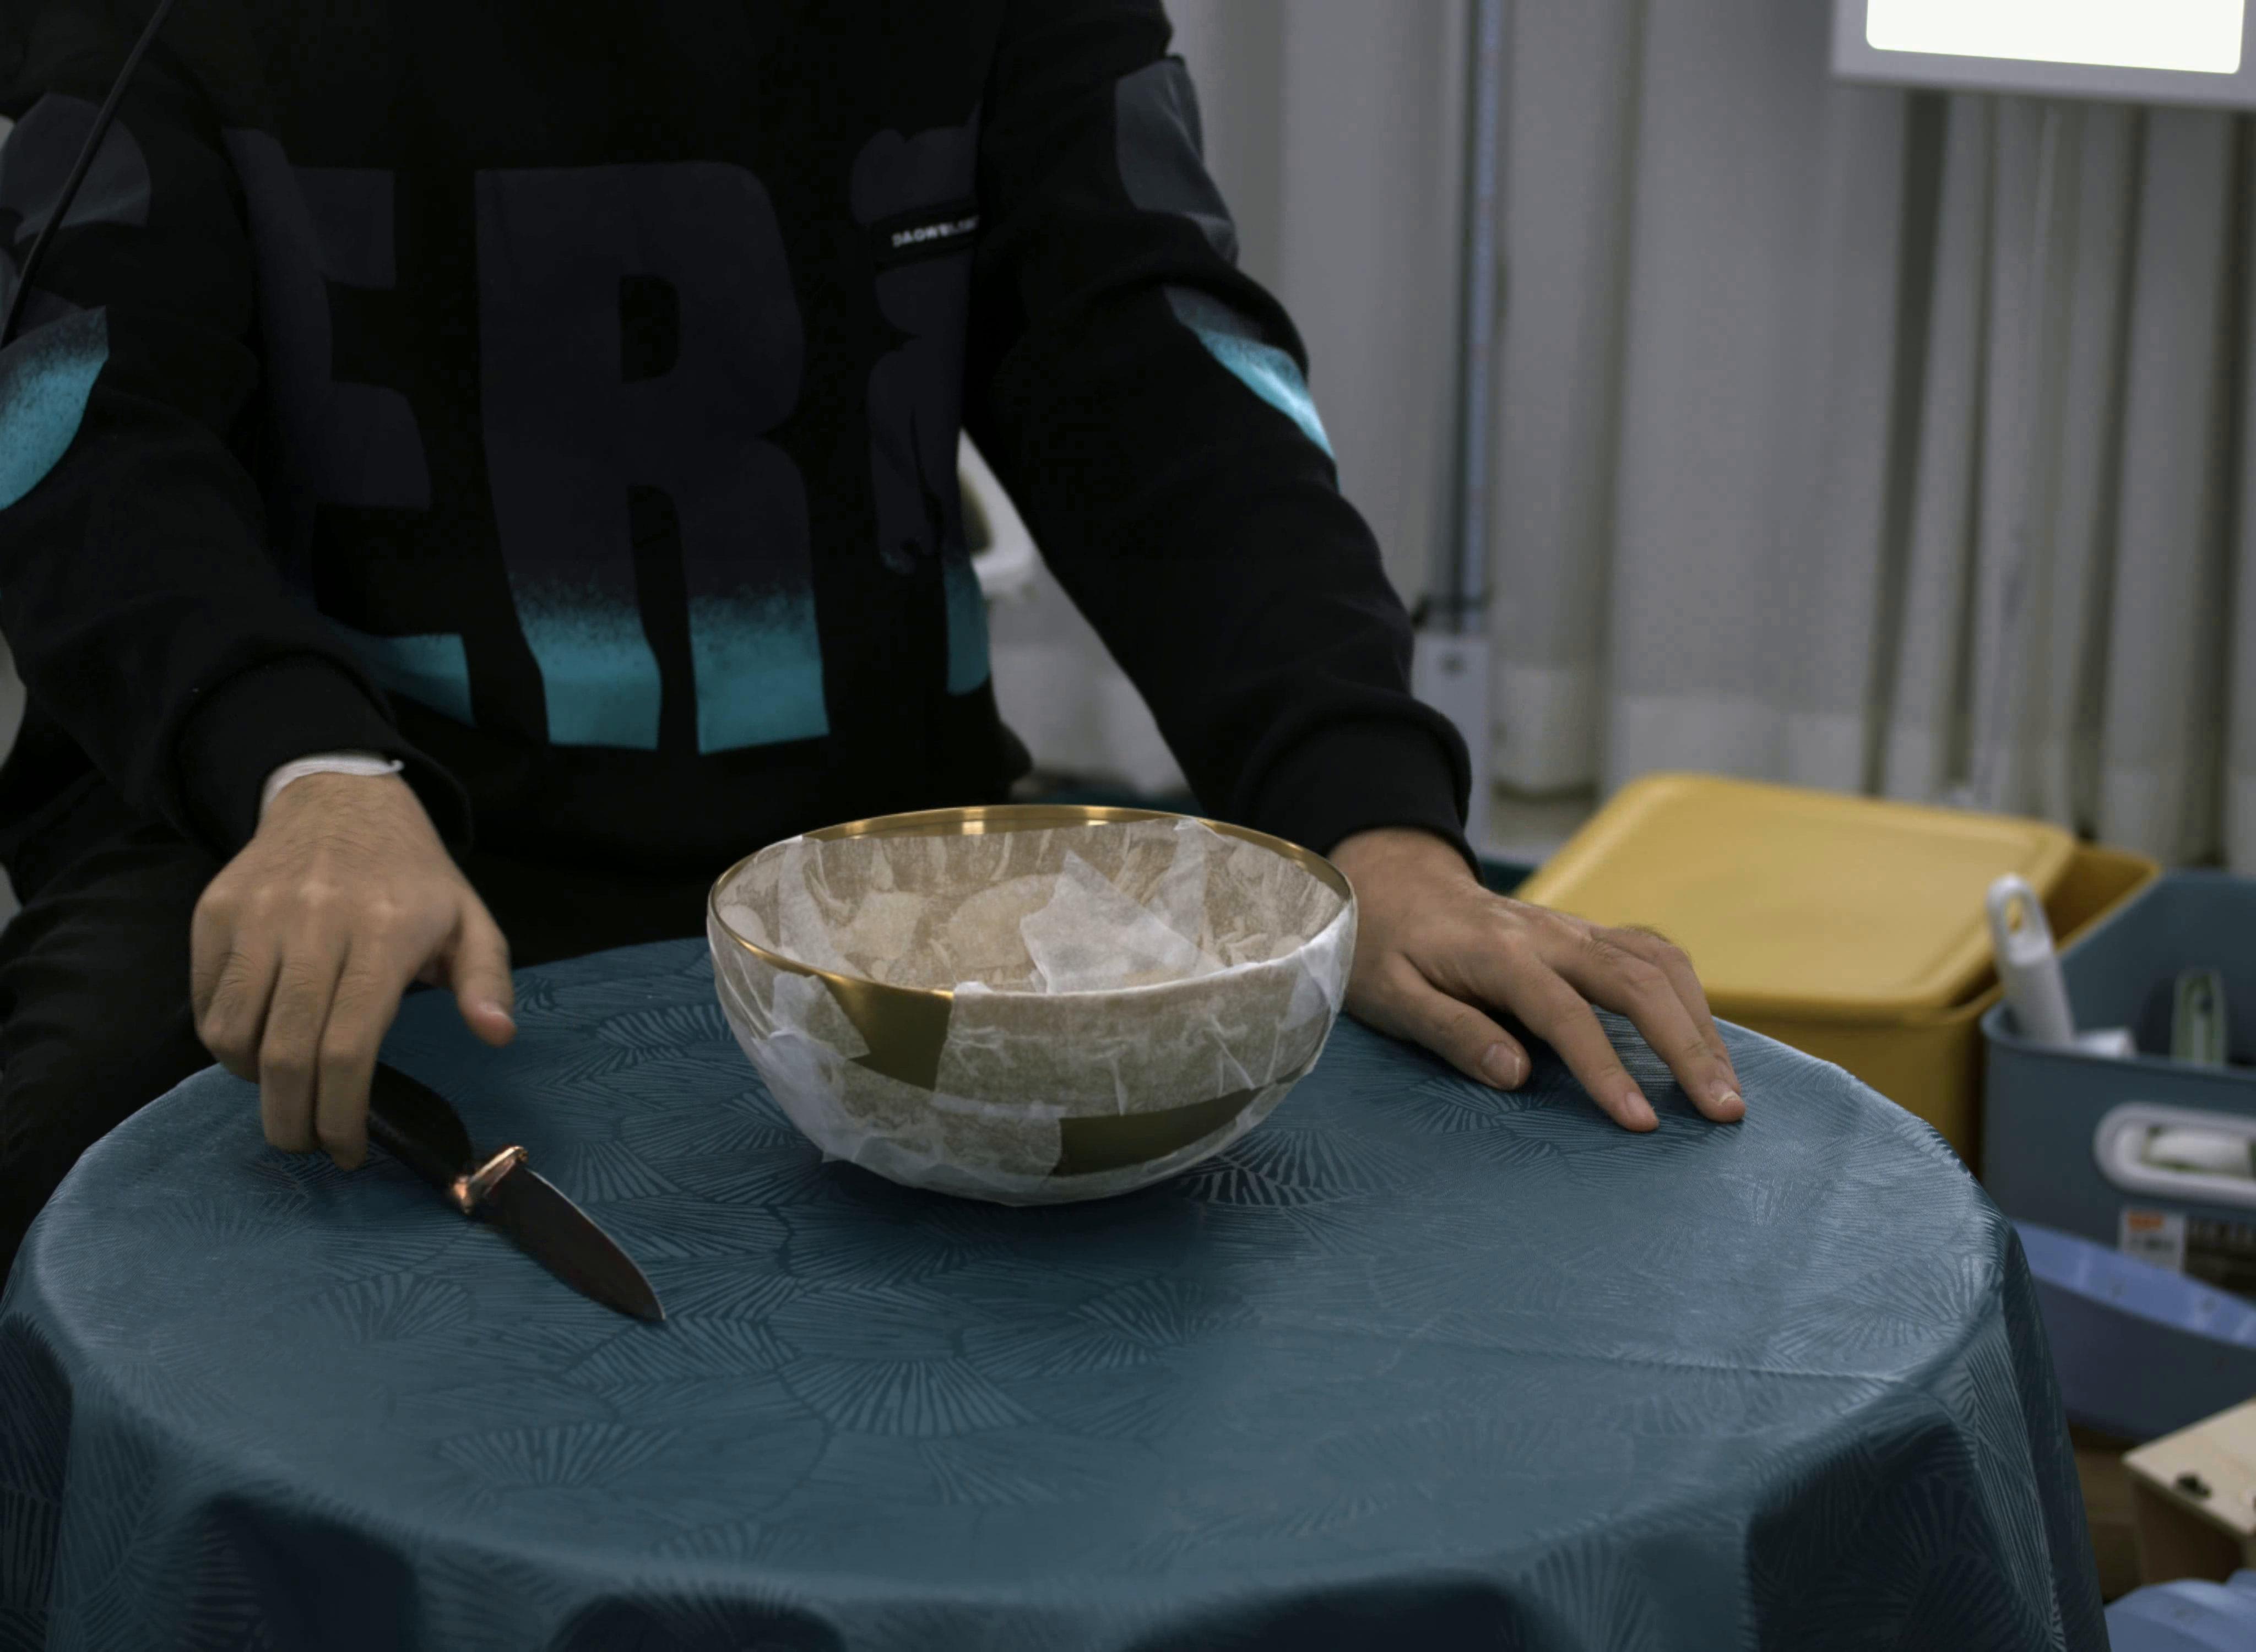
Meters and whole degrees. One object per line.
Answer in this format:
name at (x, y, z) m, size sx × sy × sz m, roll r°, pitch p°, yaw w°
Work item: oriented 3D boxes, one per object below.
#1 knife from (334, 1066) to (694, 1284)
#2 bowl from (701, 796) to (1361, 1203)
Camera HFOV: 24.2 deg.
knife at (-0.188, 0.108, 1.590) m, size 0.026 × 0.017 × 0.222 m, roll -48°, pitch 33°, yaw -13°
bowl at (-0.029, 0.060, 1.630) m, size 0.214 × 0.095 × 0.213 m, roll -1°, pitch 17°, yaw 1°
